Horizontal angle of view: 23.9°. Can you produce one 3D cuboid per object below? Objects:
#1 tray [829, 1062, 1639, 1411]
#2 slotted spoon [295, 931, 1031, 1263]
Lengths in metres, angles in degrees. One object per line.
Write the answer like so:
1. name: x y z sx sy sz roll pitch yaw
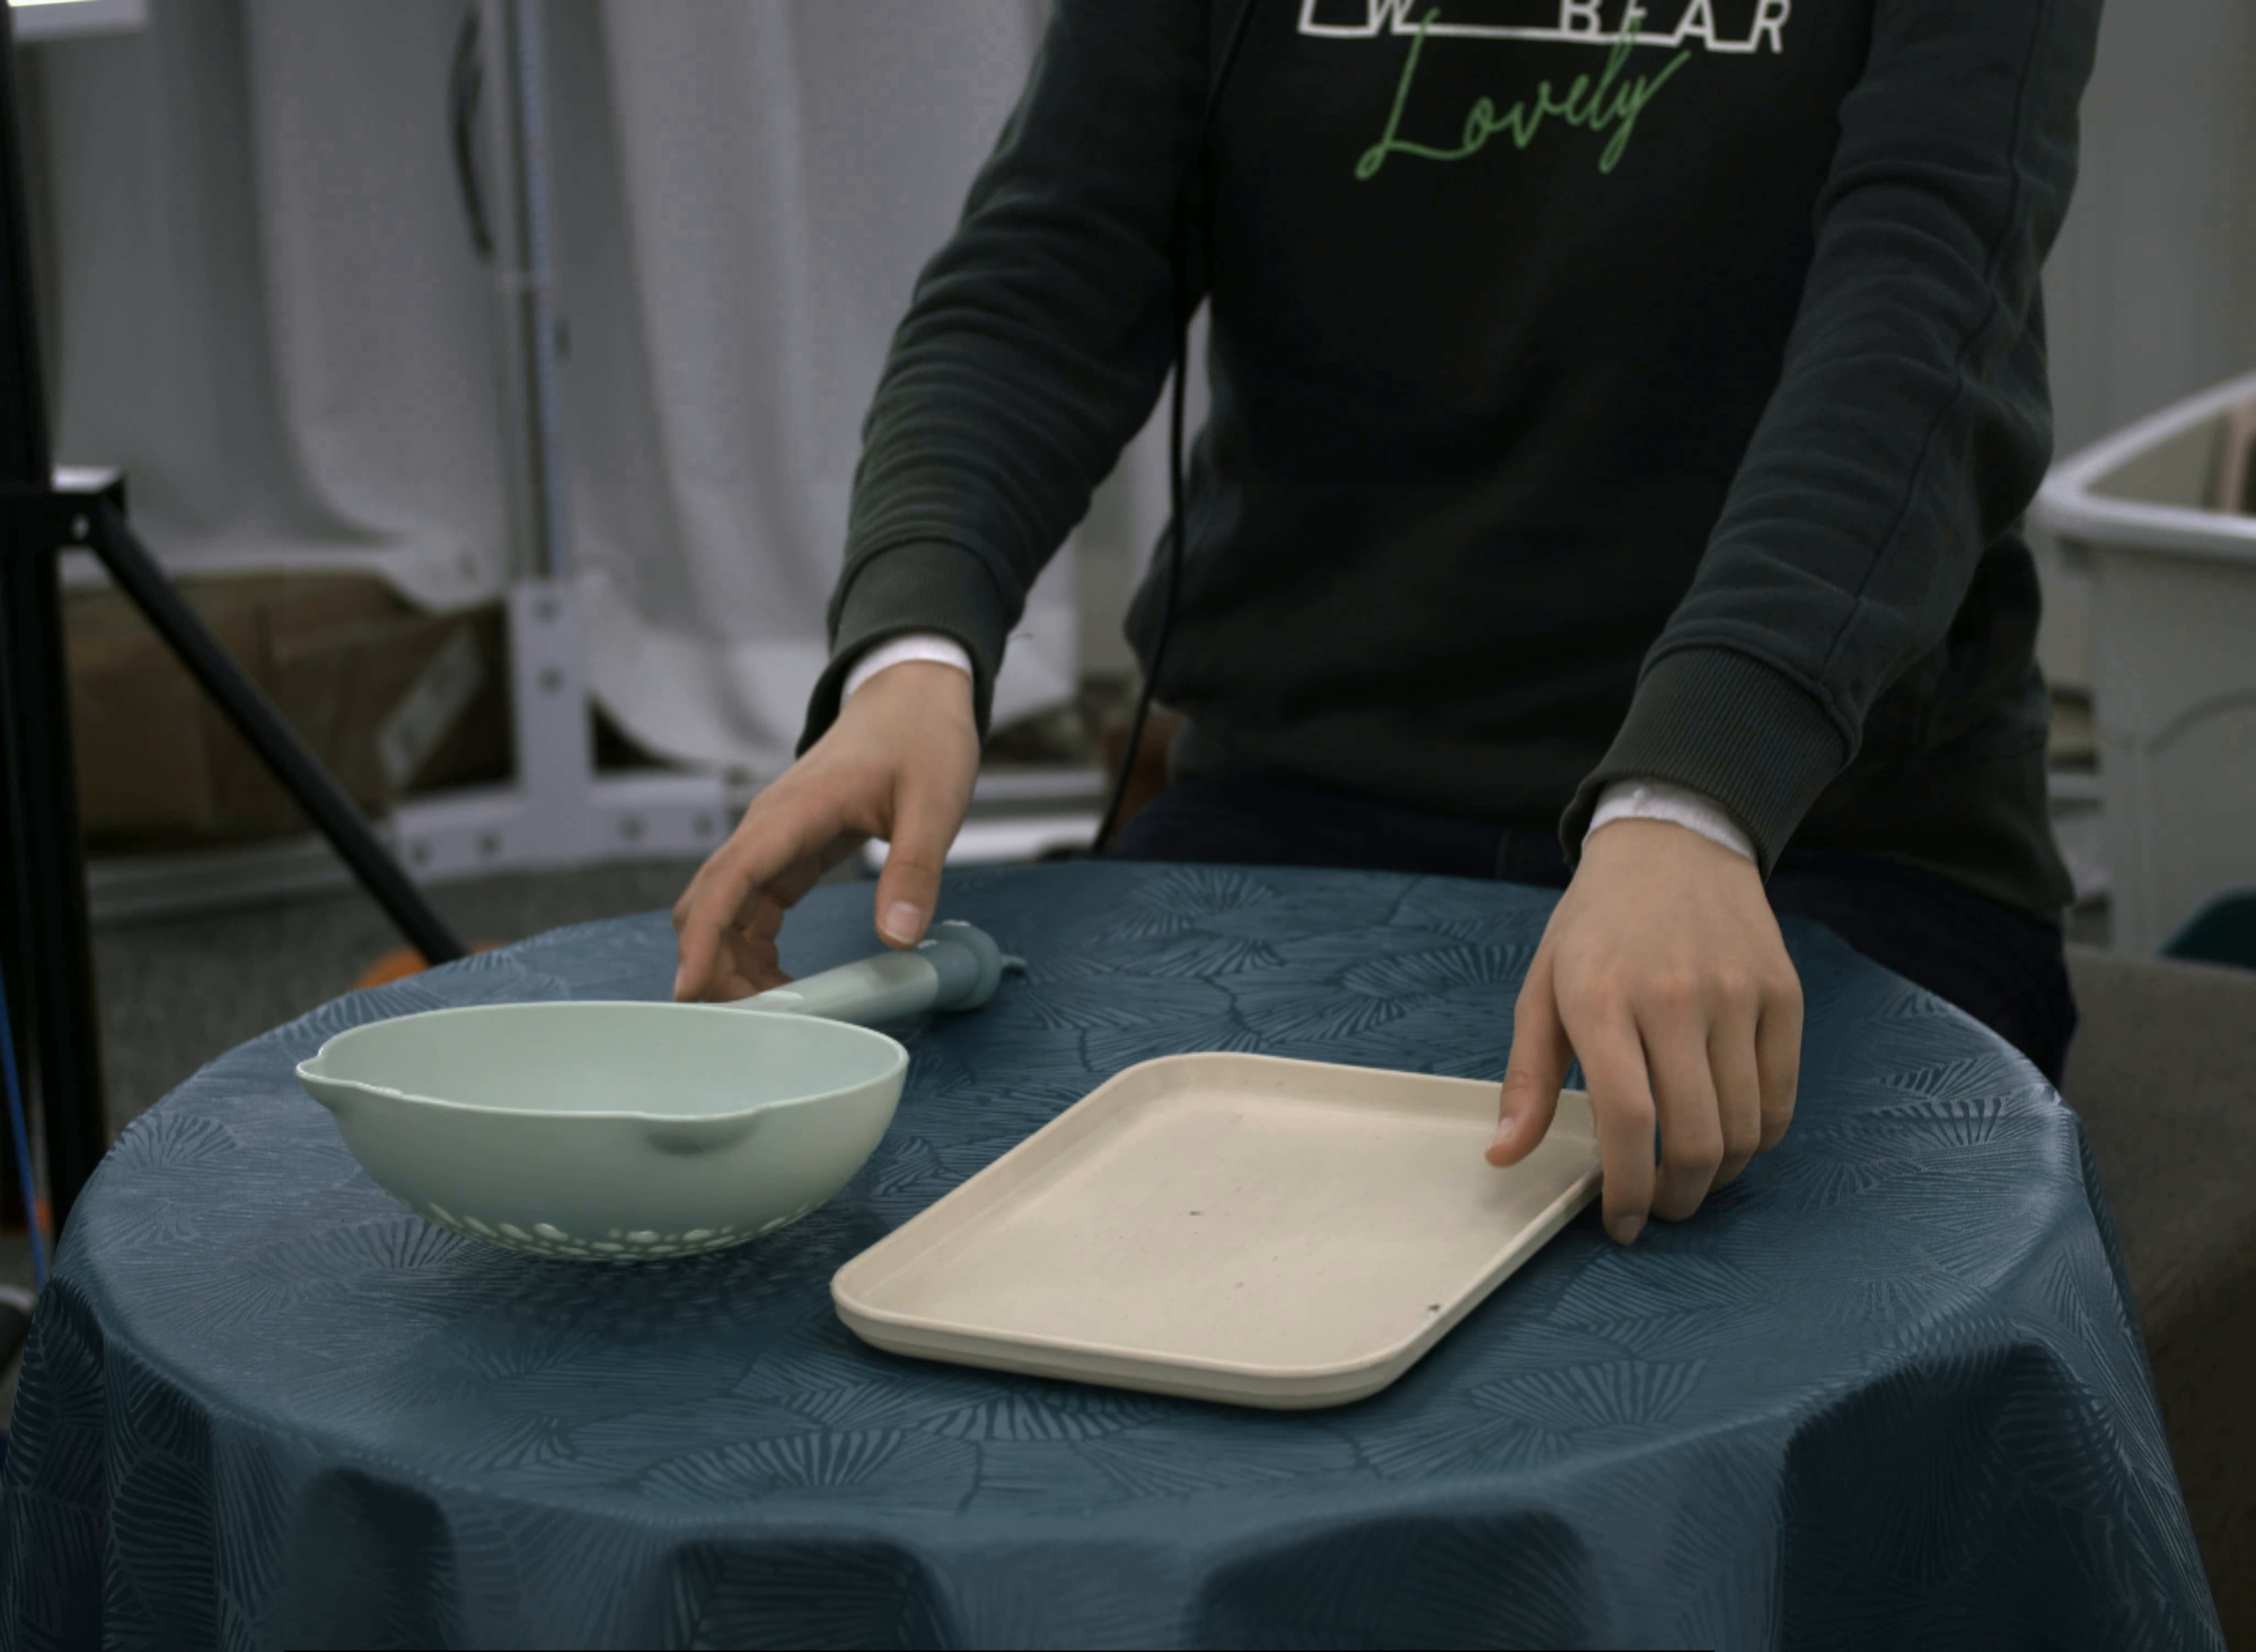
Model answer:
1. tray: 0.034 0.114 1.500 0.174 0.017 0.236 5 17 26
2. slotted spoon: -0.109 0.066 1.610 0.172 0.075 0.354 5 17 23
